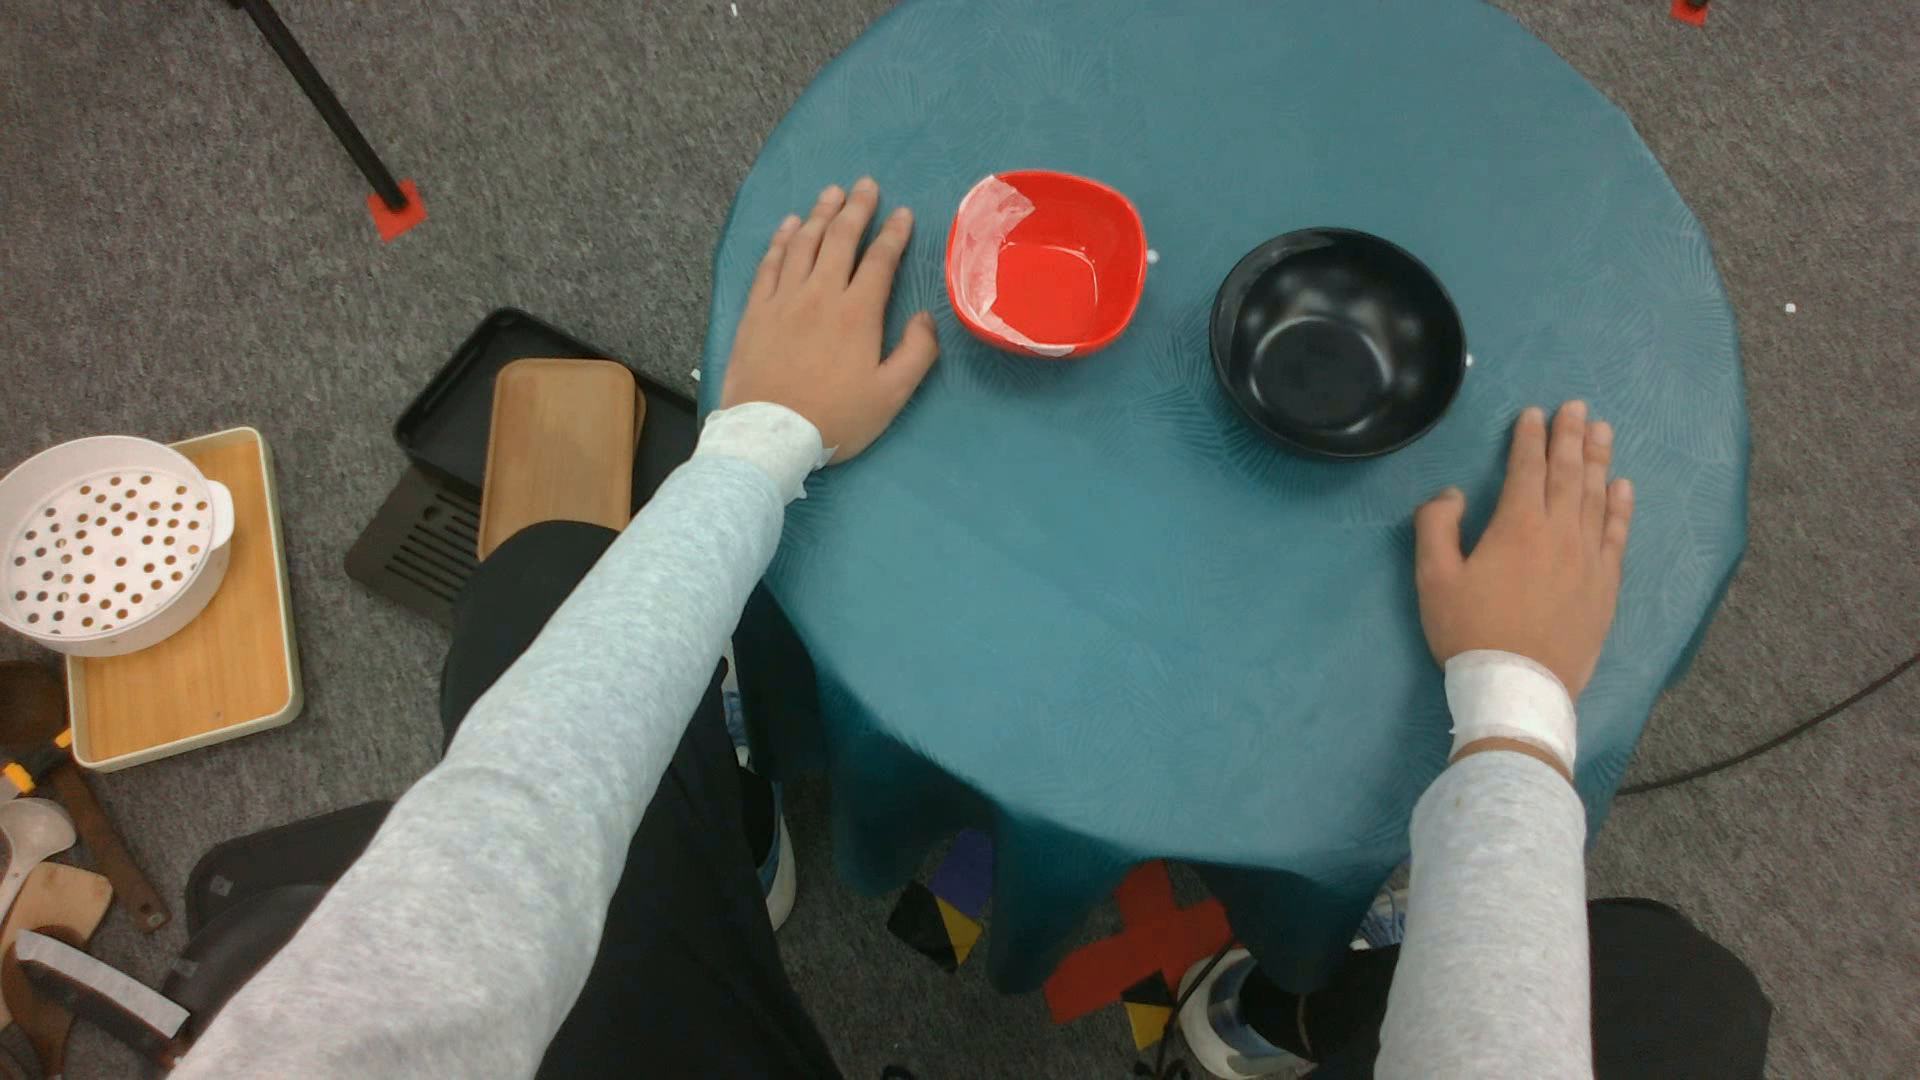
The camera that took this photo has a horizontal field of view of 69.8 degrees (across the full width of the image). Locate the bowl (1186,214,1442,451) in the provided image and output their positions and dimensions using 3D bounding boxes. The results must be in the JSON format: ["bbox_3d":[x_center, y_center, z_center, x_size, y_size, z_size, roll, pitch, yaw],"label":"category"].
[{"bbox_3d":[0.193,-0.109,0.770,0.140,0.049,0.140,0,73,-1],"label":"bowl"}]

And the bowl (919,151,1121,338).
[{"bbox_3d":[0.032,-0.158,0.776,0.119,0.051,0.119,1,70,-3],"label":"bowl"}]
